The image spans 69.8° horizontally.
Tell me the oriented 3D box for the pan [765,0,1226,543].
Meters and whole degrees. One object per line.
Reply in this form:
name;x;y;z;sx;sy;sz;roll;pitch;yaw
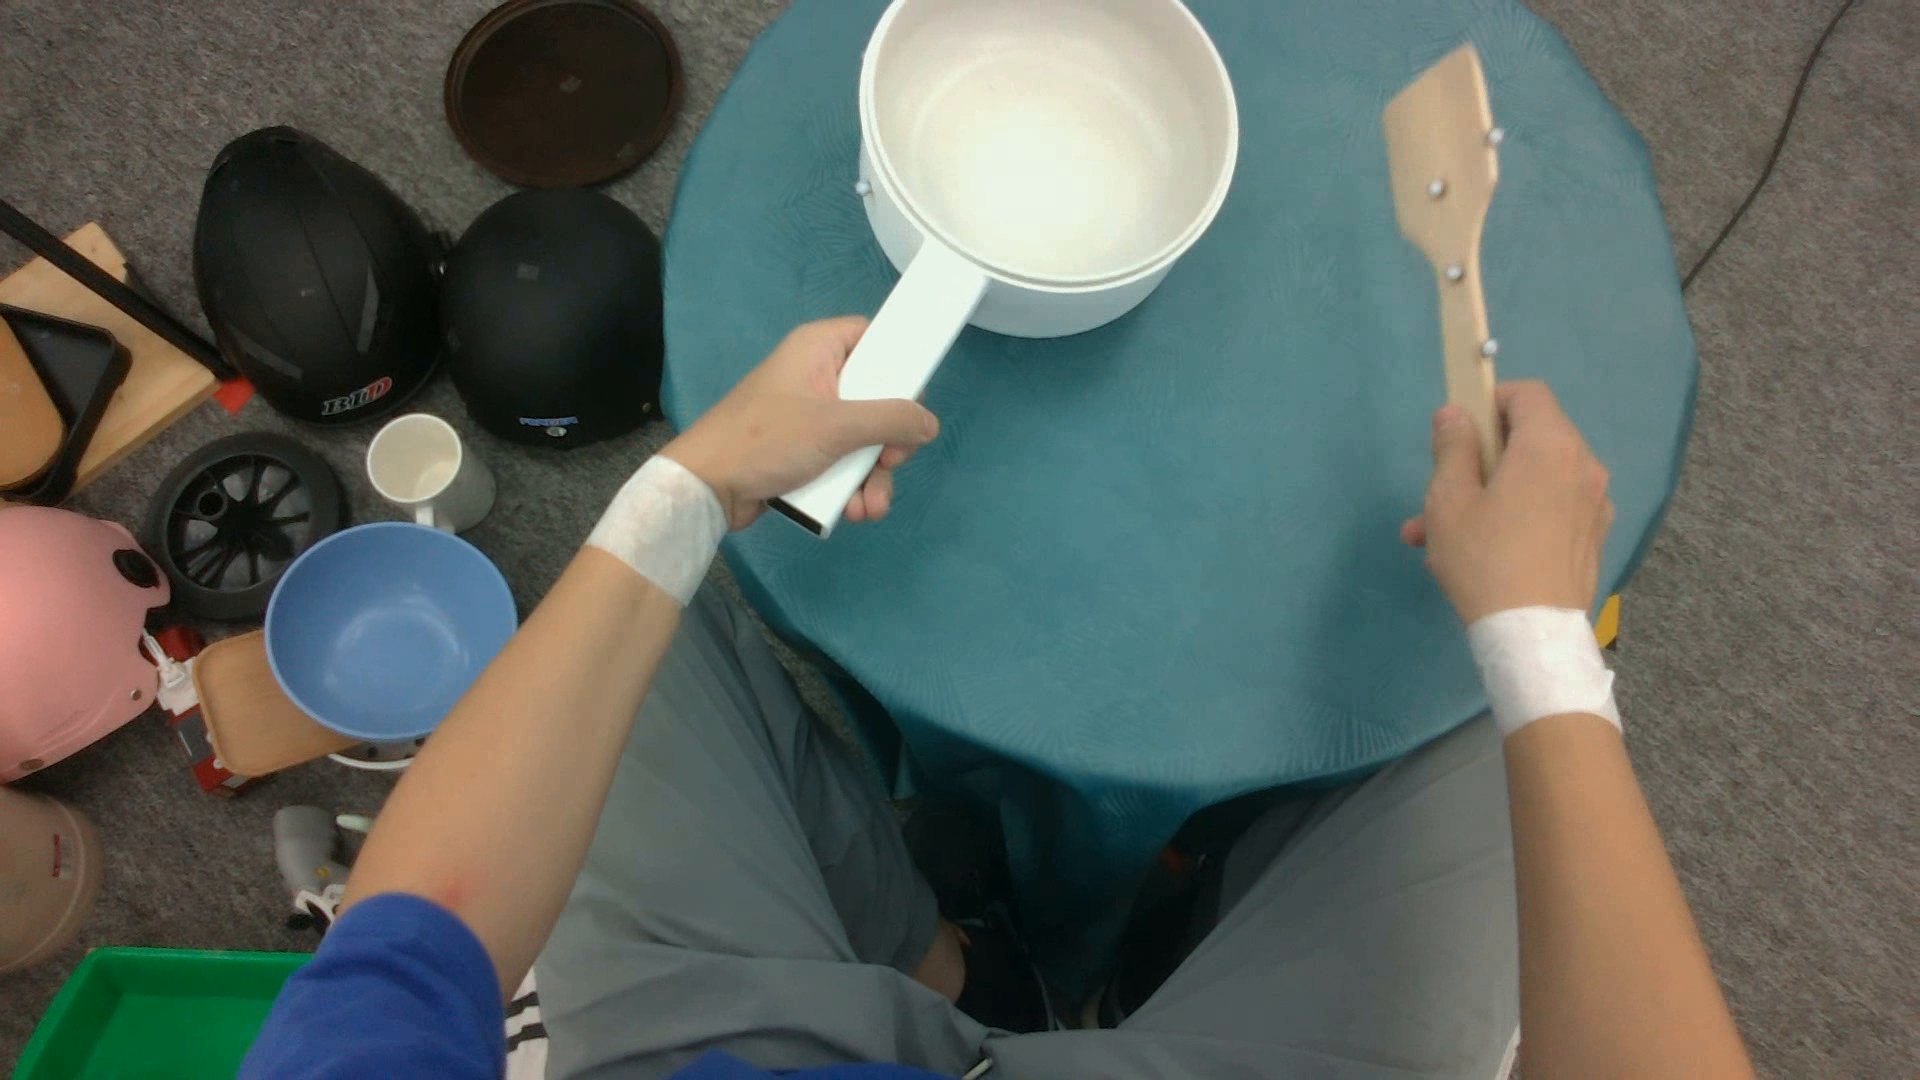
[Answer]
pan;0.002;-0.148;0.757;0.201;0.102;0.356;31;74;-3

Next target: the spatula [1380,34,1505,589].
spatula;0.256;-0.118;0.713;0.010;0.072;0.293;5;74;-21
